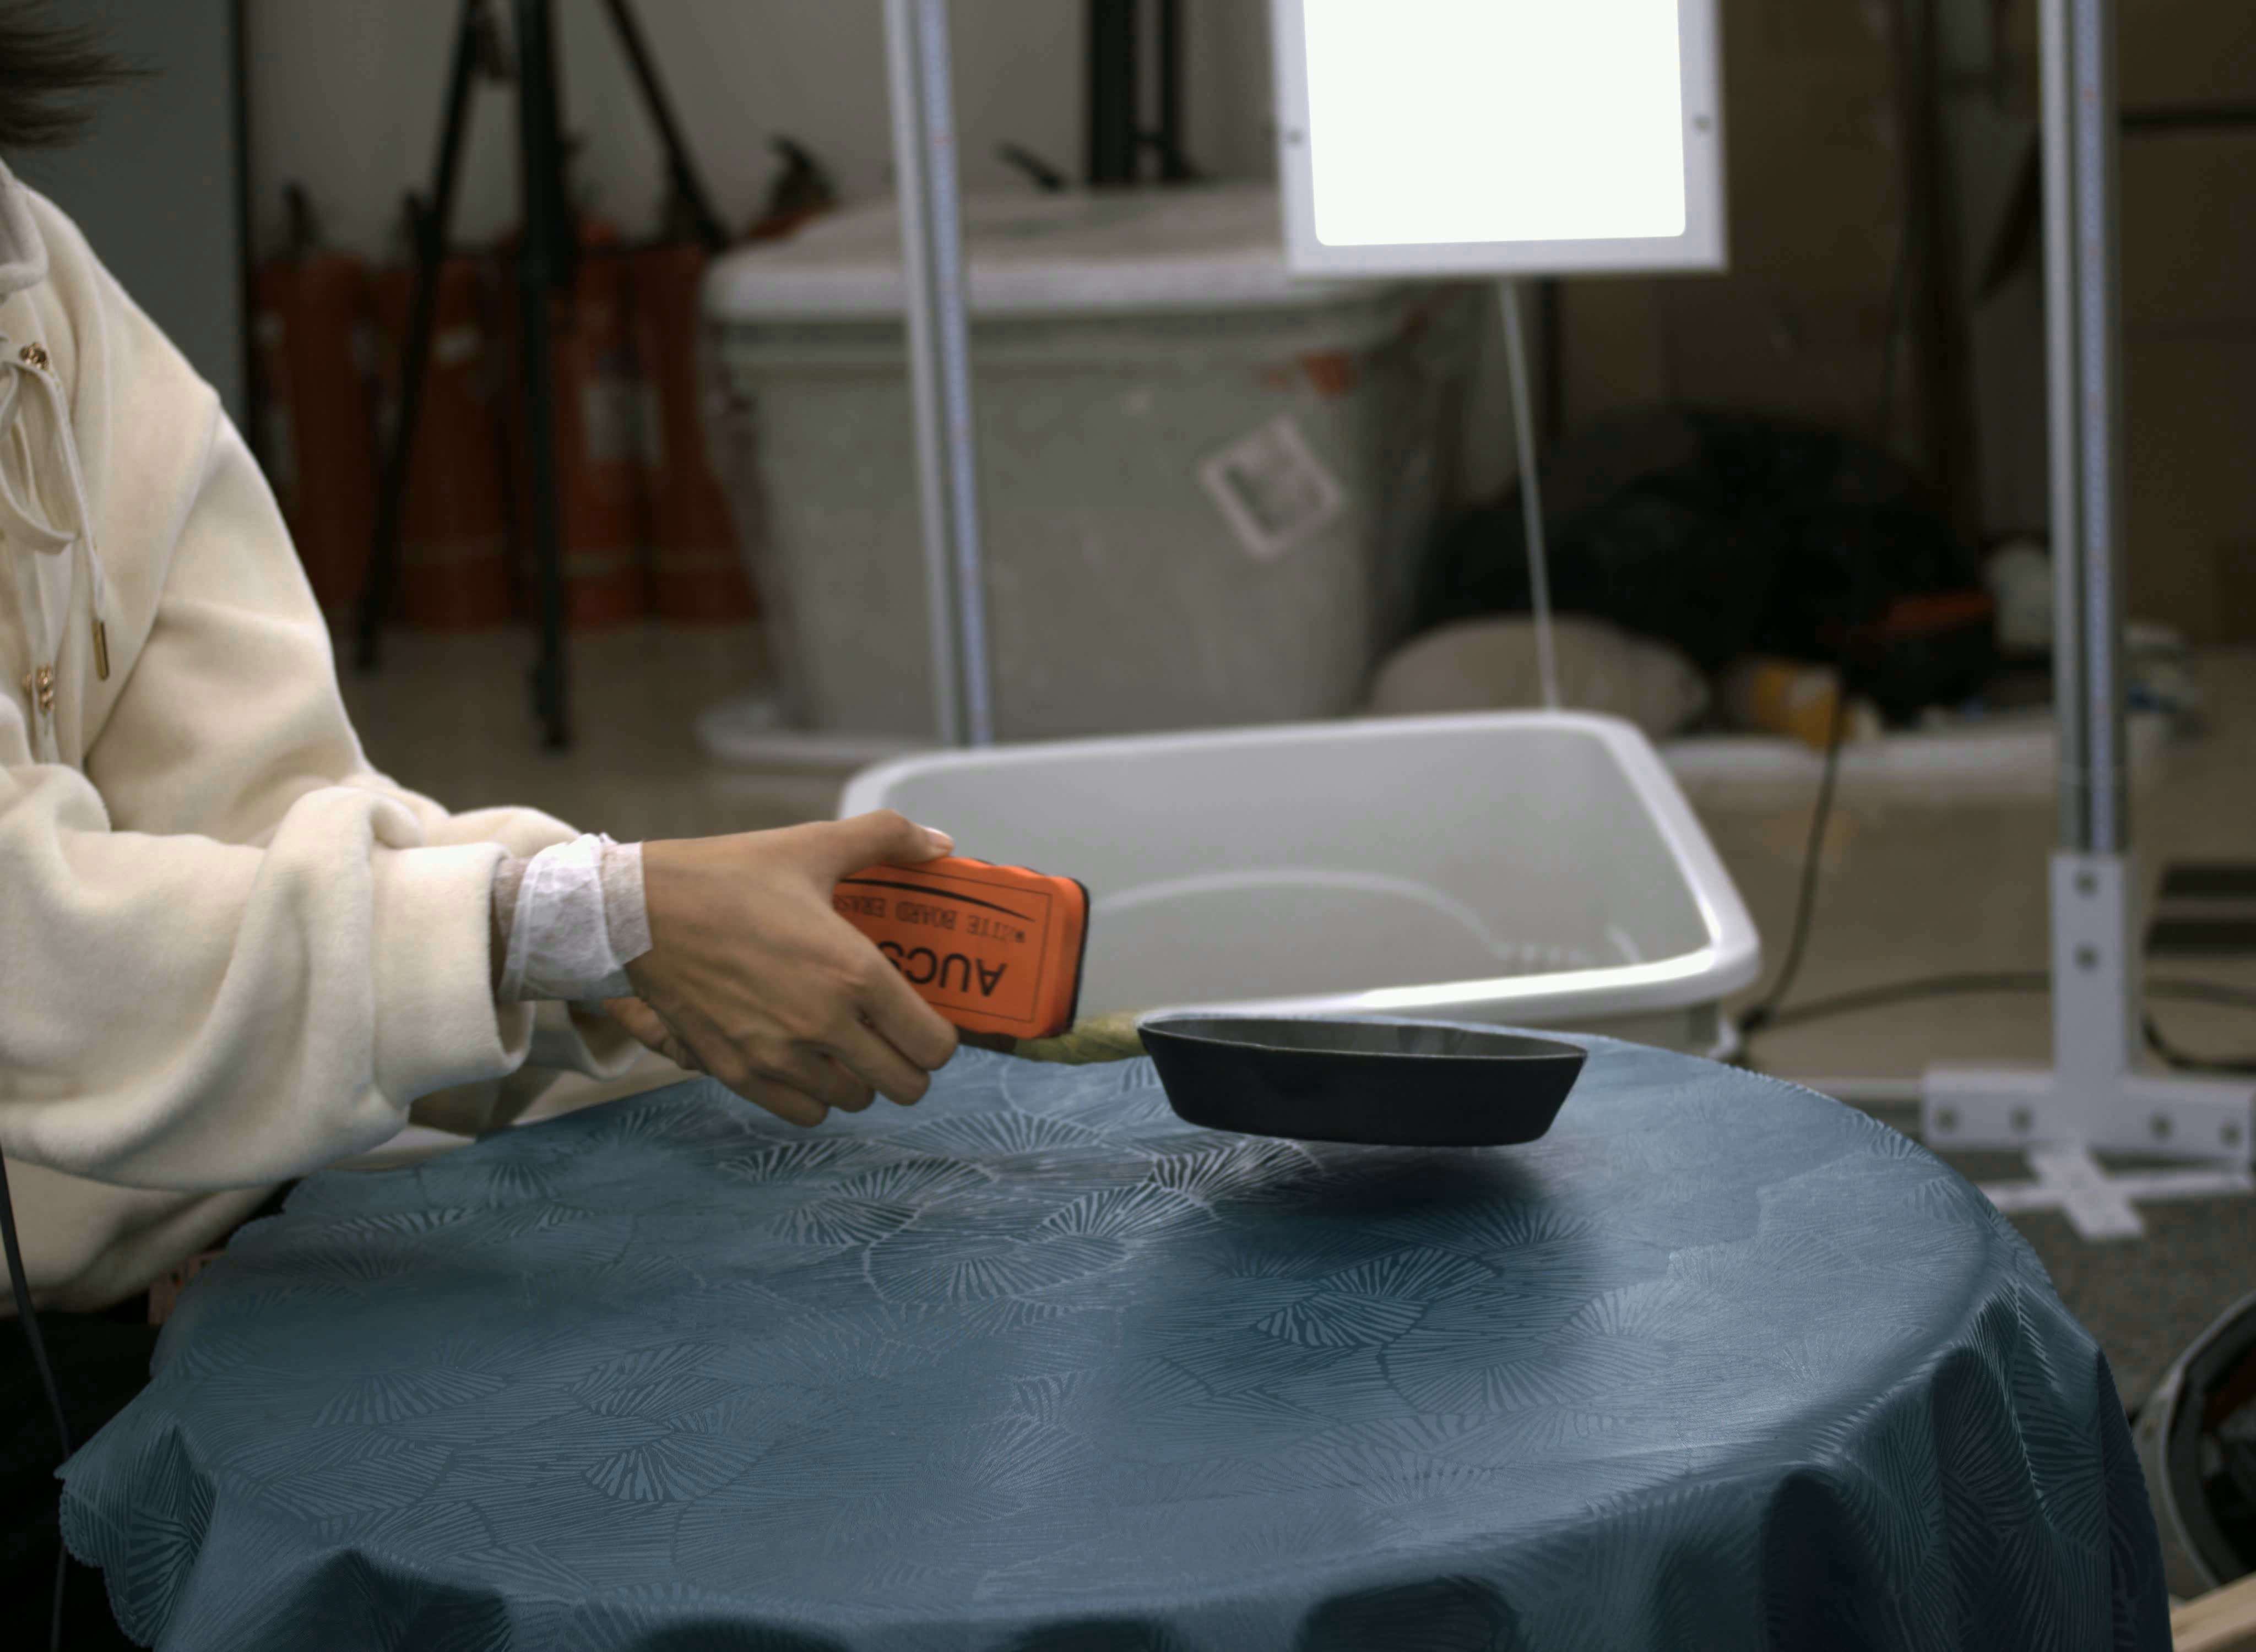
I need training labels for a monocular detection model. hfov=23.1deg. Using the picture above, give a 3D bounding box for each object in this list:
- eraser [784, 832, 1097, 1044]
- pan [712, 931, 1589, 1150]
[{"bbox_3d":[-0.065,0.038,1.900,0.110,0.059,0.022,11,4,27],"label":"eraser"},{"bbox_3d":[0.002,0.074,1.918,0.329,0.050,0.165,5,3,25],"label":"pan"}]
